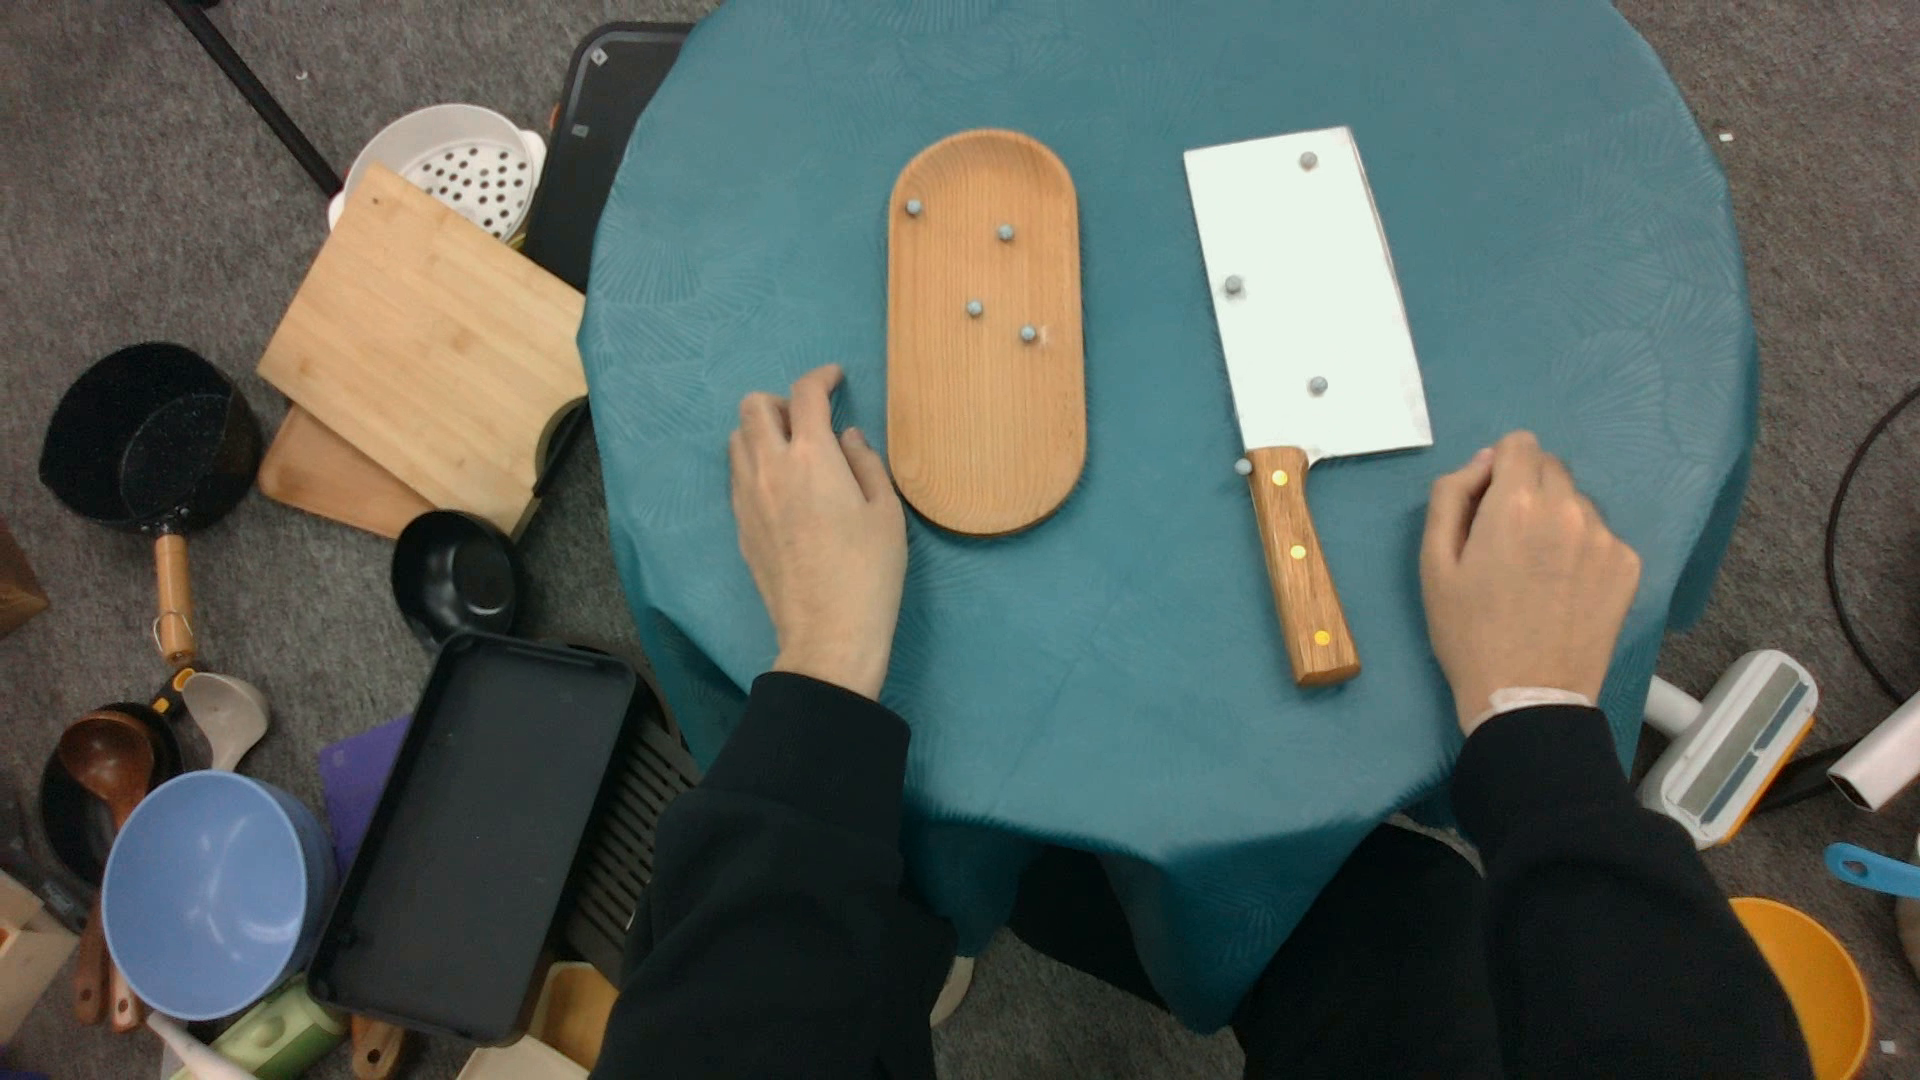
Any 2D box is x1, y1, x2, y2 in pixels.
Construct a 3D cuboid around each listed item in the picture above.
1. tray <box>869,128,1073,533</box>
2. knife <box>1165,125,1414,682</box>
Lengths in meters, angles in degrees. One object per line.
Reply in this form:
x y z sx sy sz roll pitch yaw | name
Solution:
0.005 -0.112 0.708 0.101 0.020 0.232 -2 71 5 | tray
0.172 -0.081 0.683 0.093 0.021 0.306 -8 67 0 | knife
